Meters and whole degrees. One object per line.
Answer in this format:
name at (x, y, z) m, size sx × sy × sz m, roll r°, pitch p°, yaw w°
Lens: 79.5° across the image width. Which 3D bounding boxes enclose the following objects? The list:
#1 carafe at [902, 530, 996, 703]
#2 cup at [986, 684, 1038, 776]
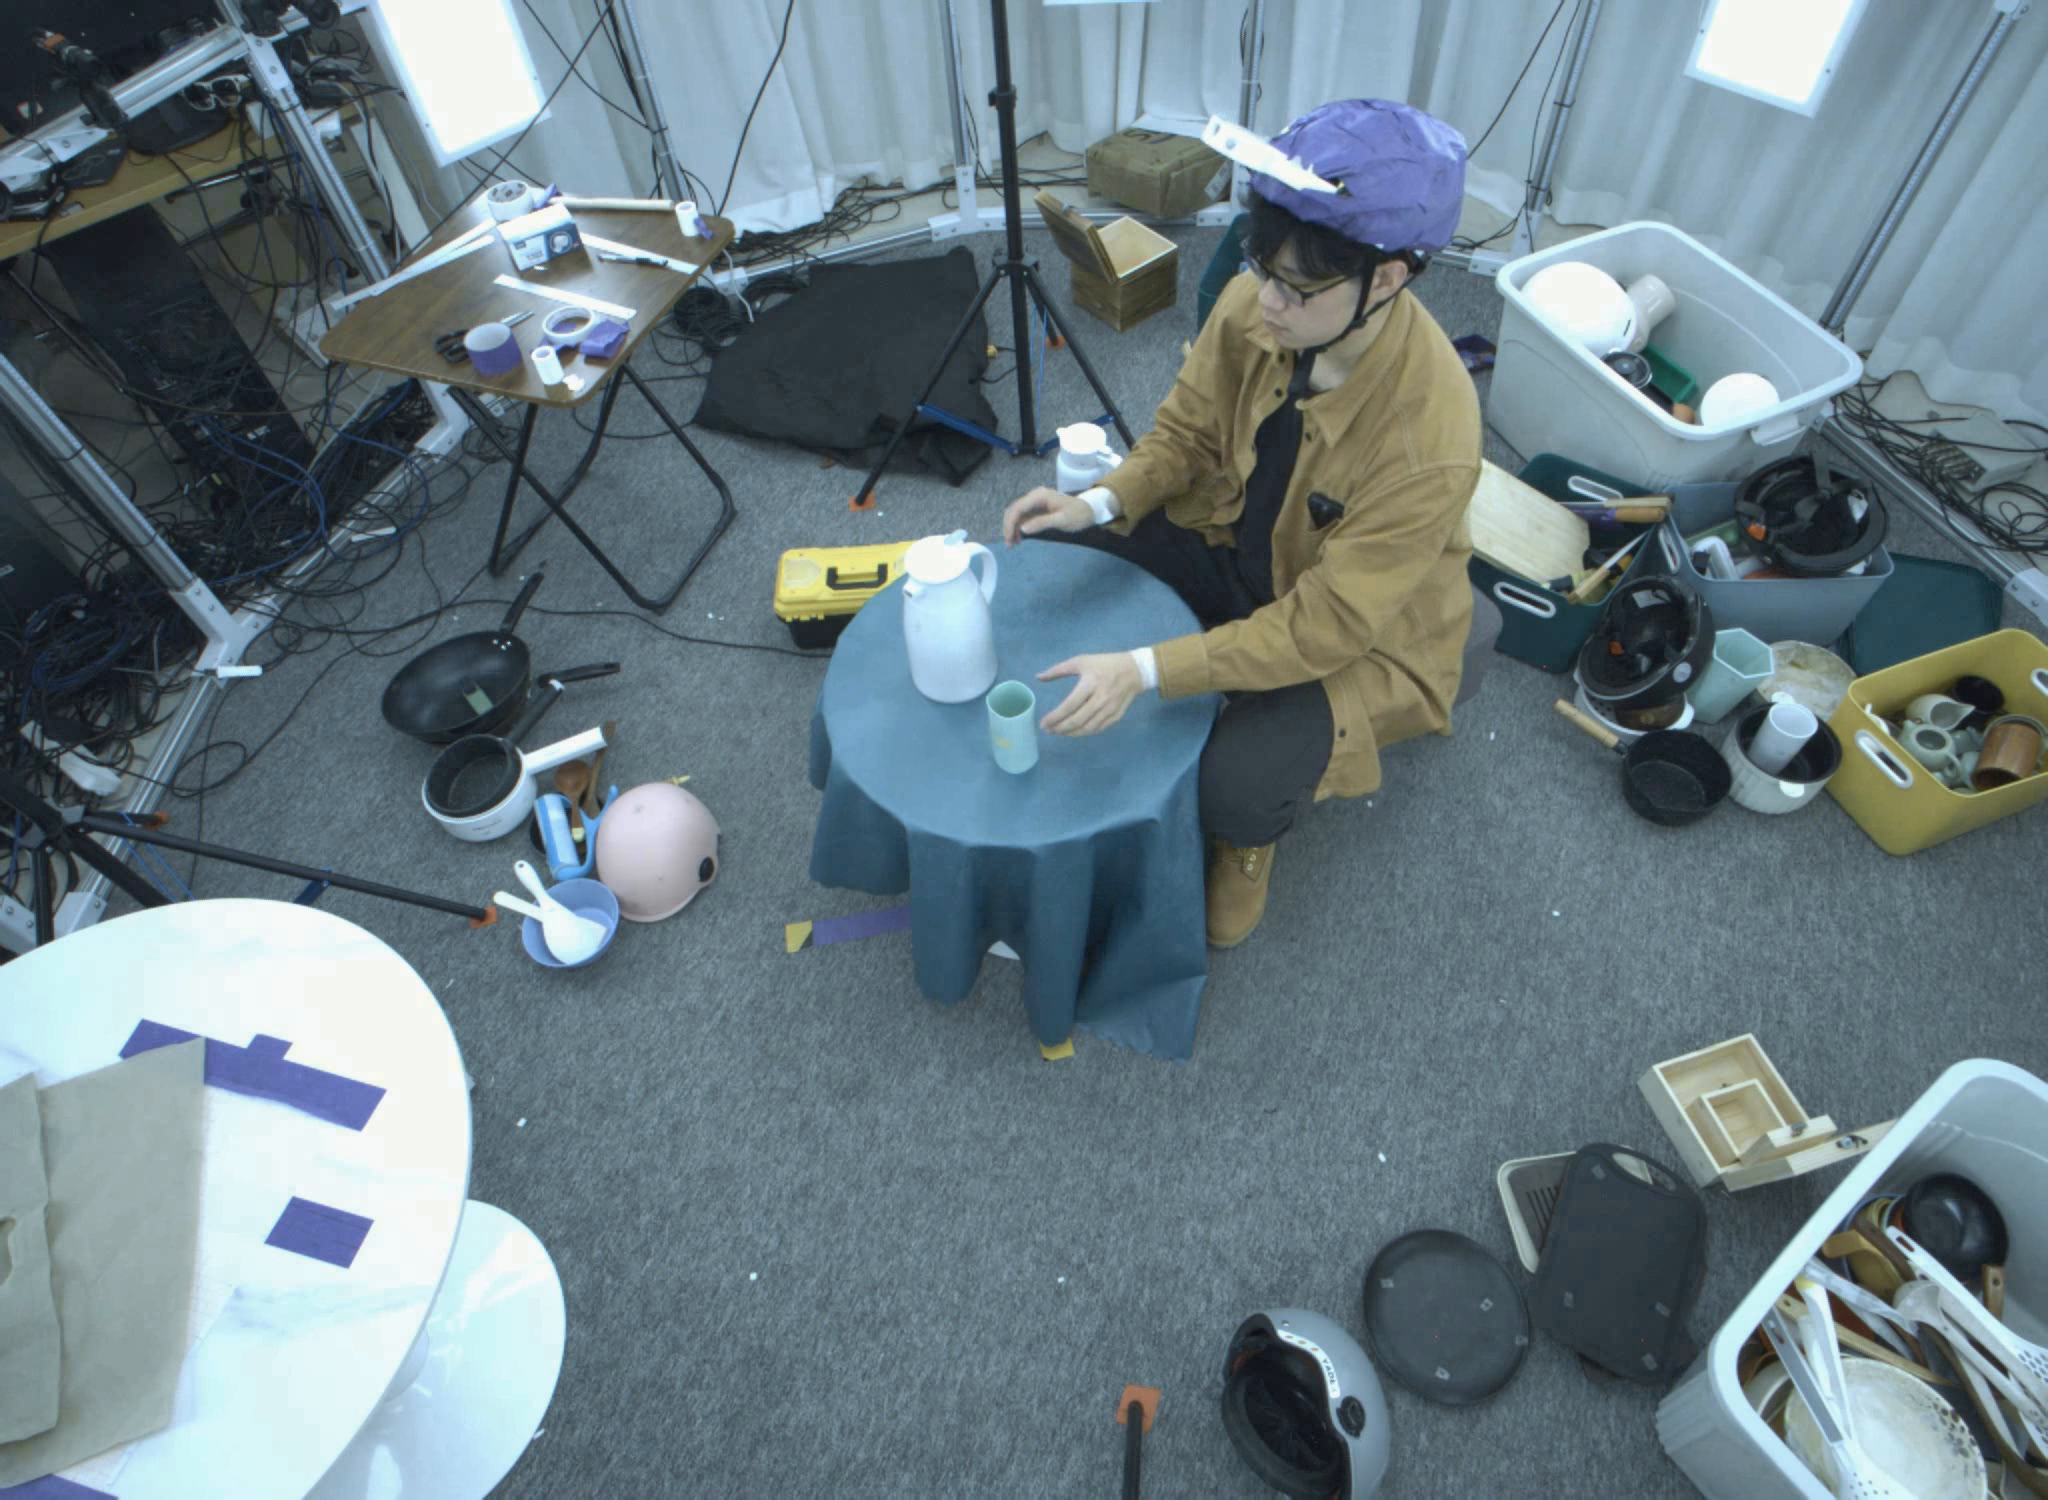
carafe at (-0.104, -0.208, 1.782) m, size 0.130 × 0.251 × 0.168 m, roll 32°, pitch 62°, yaw 24°
cup at (-0.015, -0.028, 1.727) m, size 0.066 × 0.134 × 0.066 m, roll -1°, pitch 54°, yaw 3°
